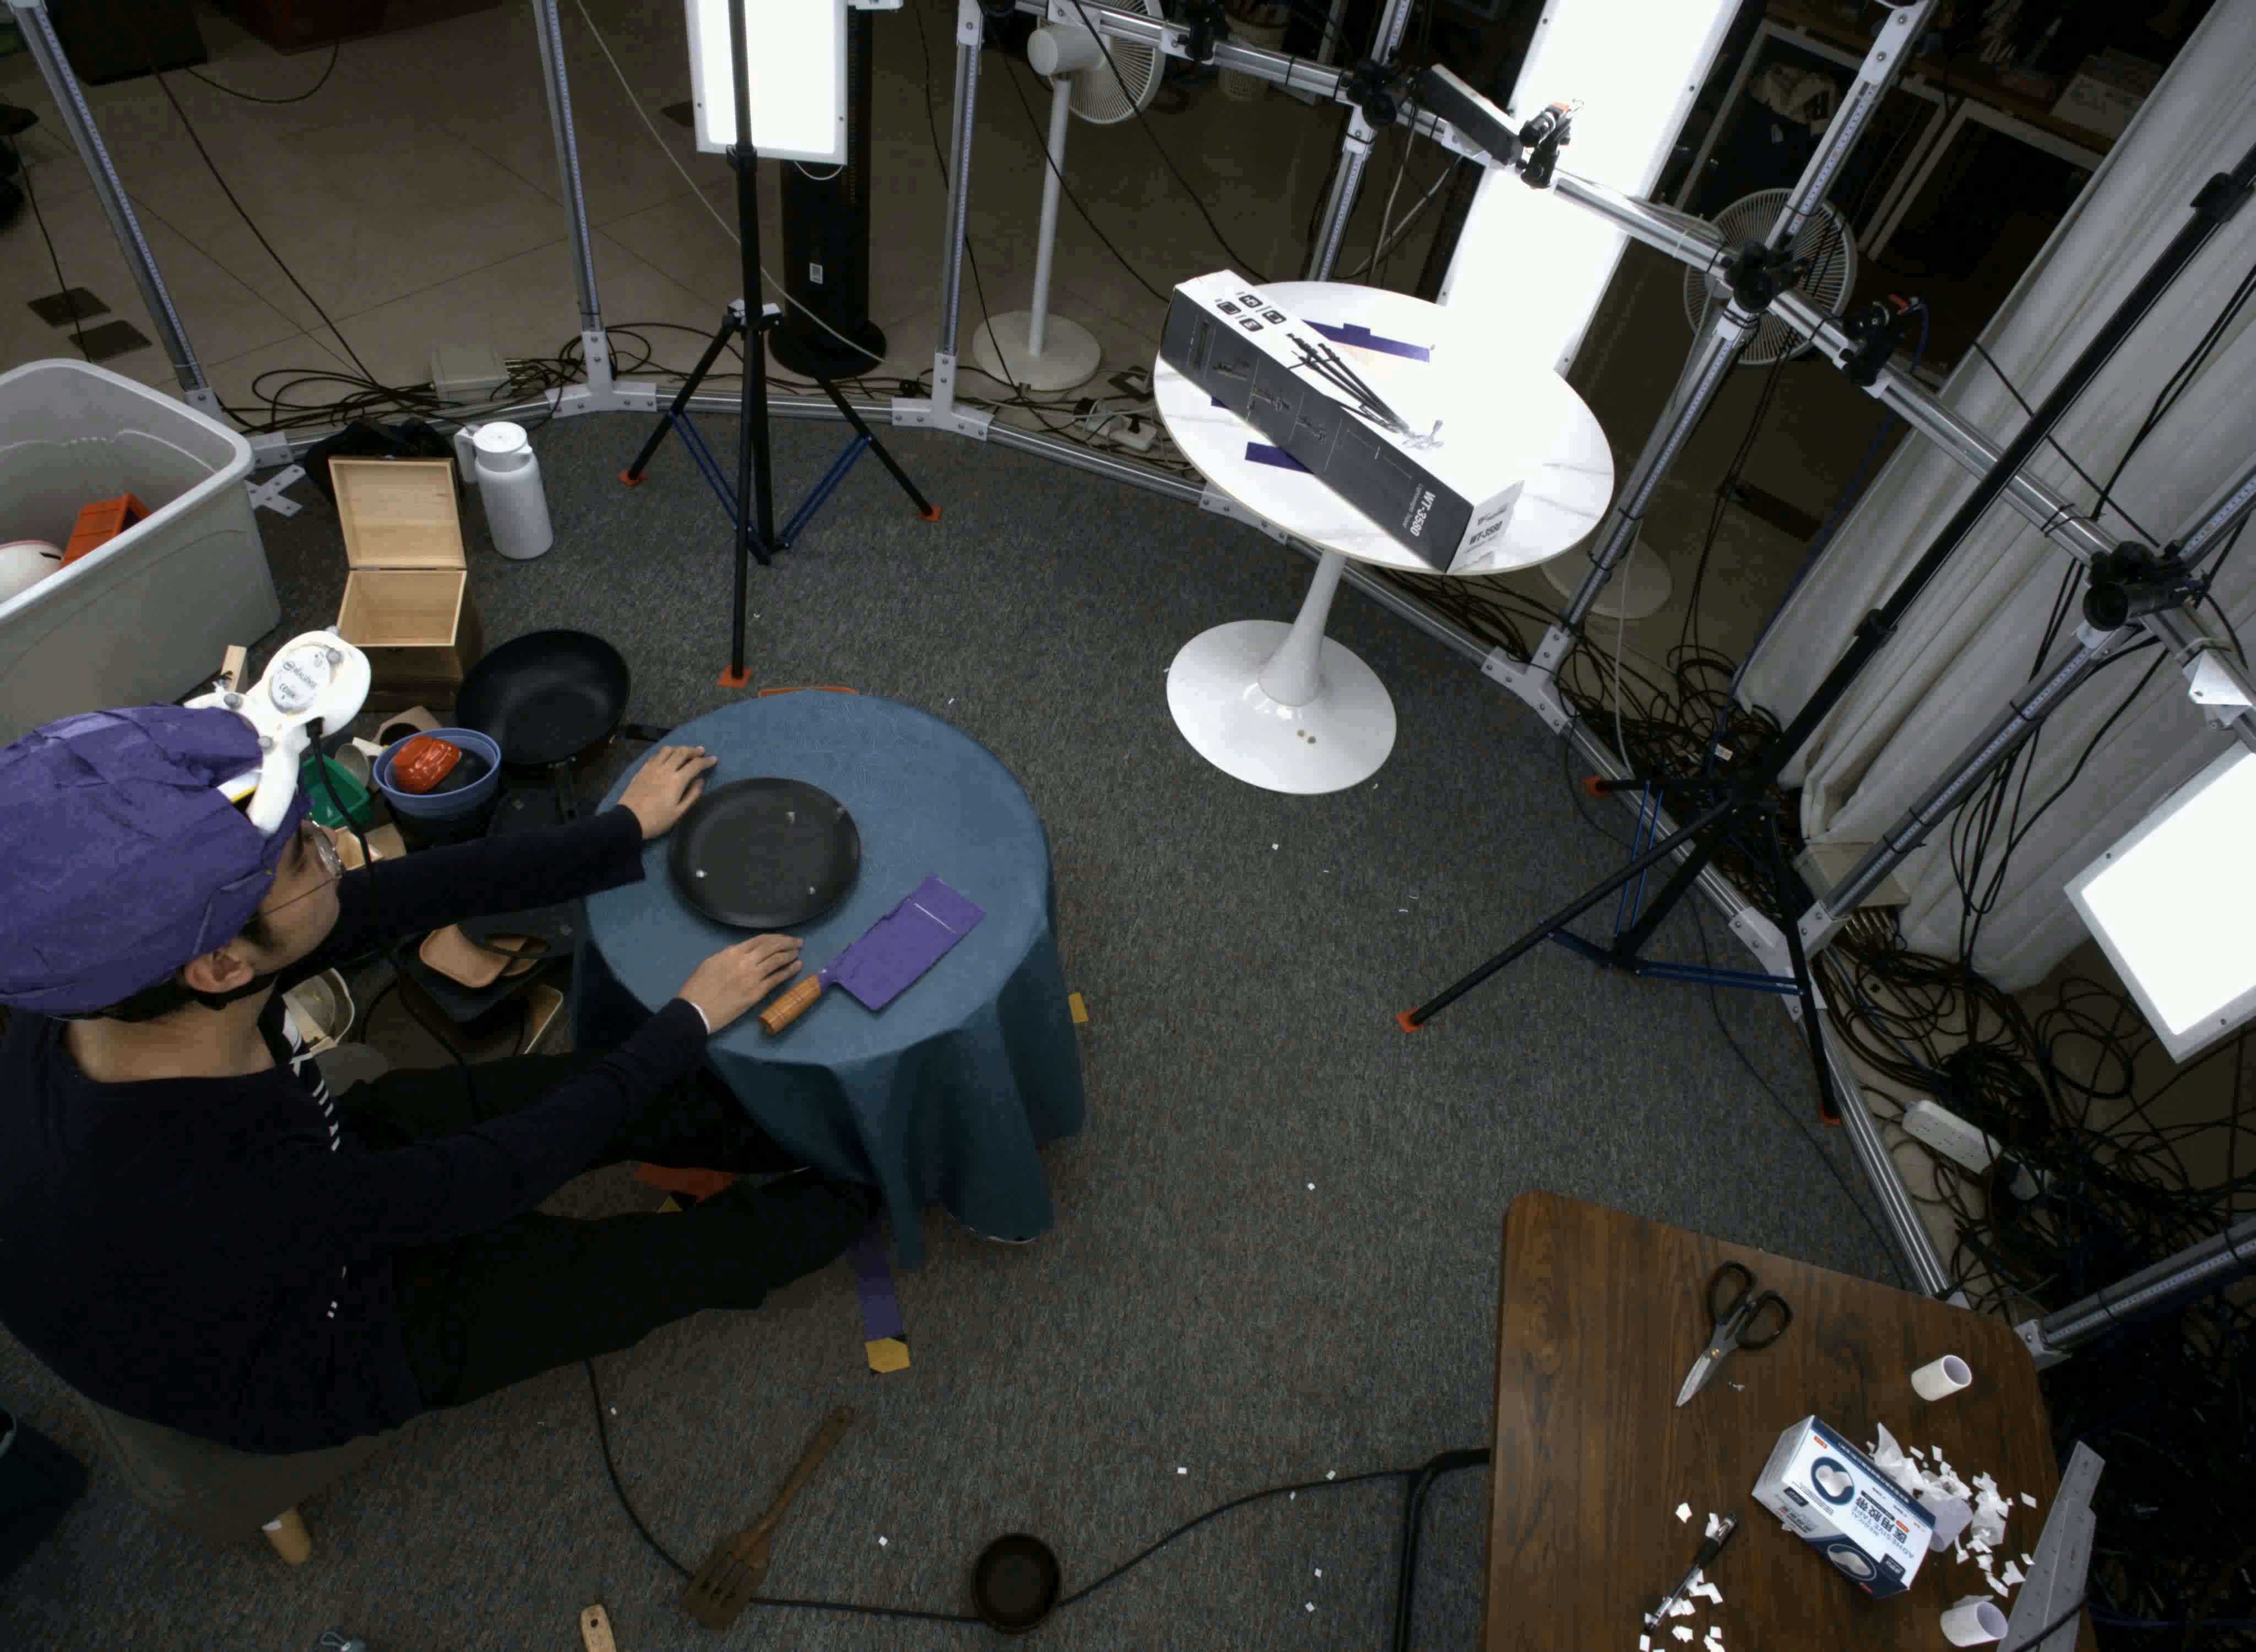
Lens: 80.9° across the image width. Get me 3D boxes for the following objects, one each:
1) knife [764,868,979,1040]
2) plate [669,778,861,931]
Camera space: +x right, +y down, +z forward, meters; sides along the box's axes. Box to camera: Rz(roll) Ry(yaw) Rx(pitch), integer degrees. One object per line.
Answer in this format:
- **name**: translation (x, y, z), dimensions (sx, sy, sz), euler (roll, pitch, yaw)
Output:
- **knife**: translation (-0.310, 0.168, 1.623), dimensions (0.102, 0.033, 0.315), euler (35, 53, 13)
- **plate**: translation (-0.470, 0.037, 1.681), dimensions (0.244, 0.024, 0.240), euler (8, 52, -9)
